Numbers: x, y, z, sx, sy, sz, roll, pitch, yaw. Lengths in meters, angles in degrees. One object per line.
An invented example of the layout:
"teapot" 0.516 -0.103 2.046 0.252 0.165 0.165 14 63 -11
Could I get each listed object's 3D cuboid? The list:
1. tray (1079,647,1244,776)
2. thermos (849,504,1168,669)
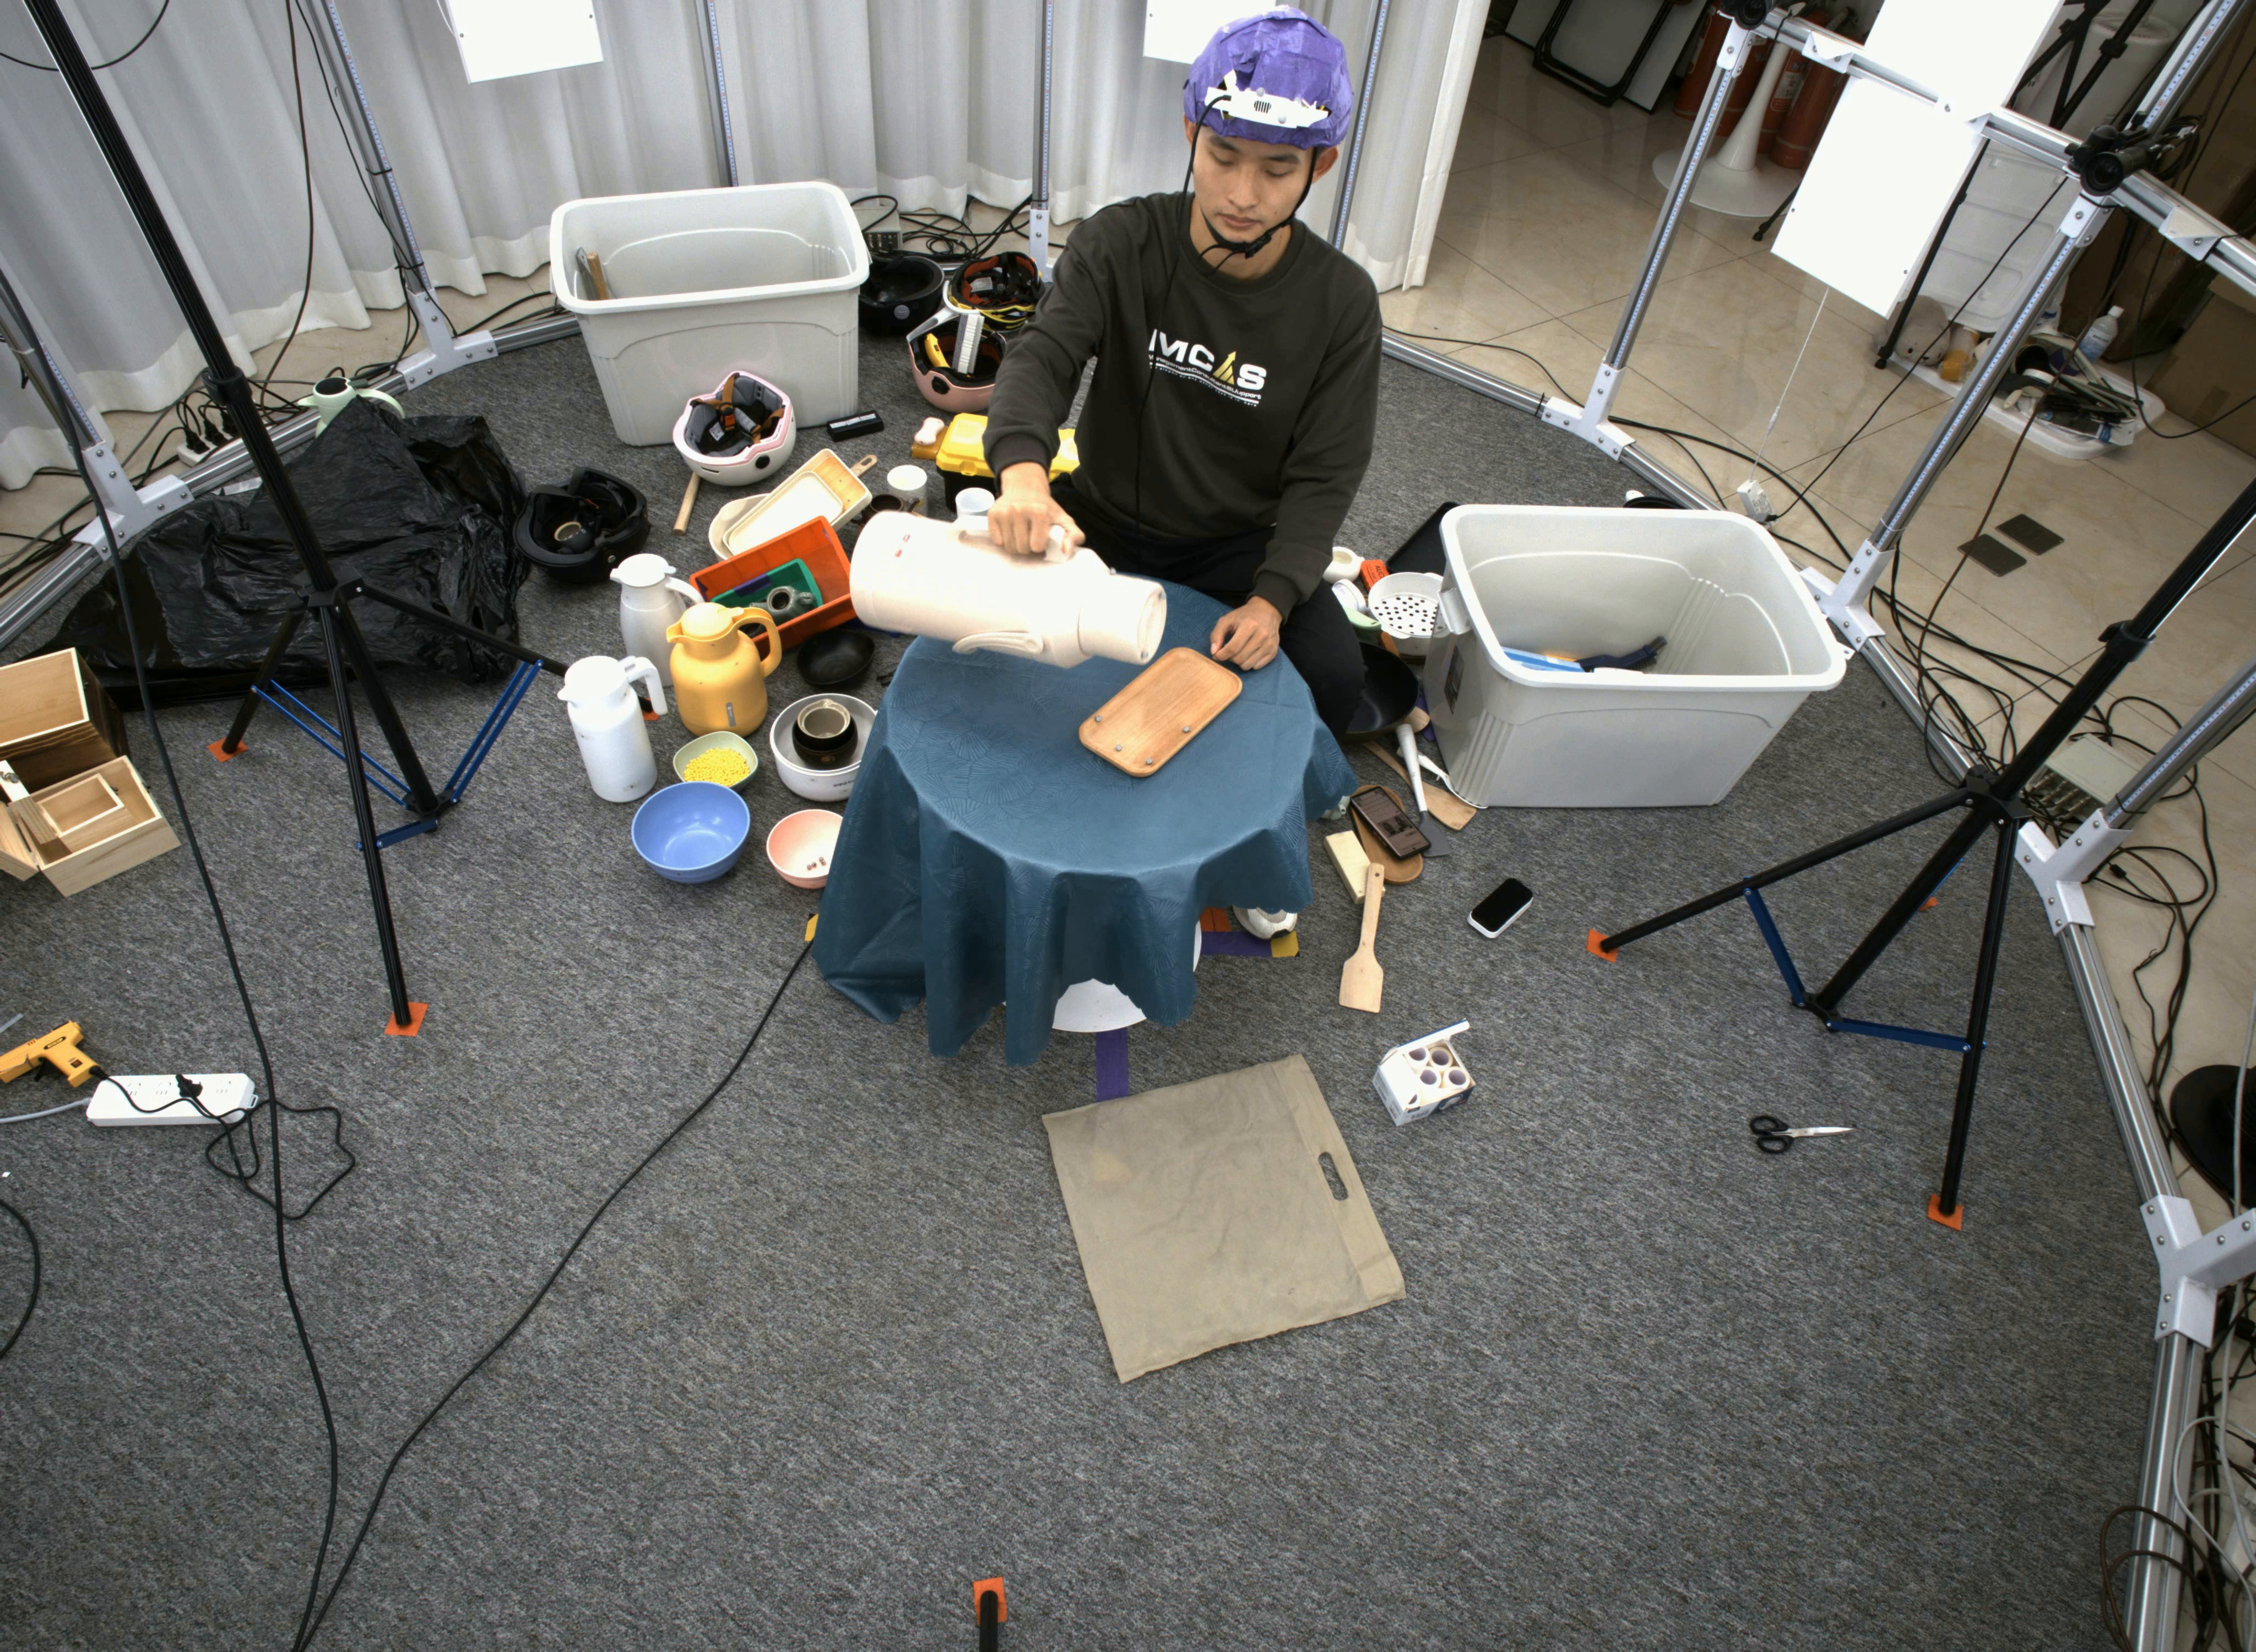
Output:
"tray" 0.049 -0.163 1.799 0.132 0.022 0.253 35 54 21
"thermos" -0.153 -0.315 1.679 0.409 0.202 0.178 17 49 20
